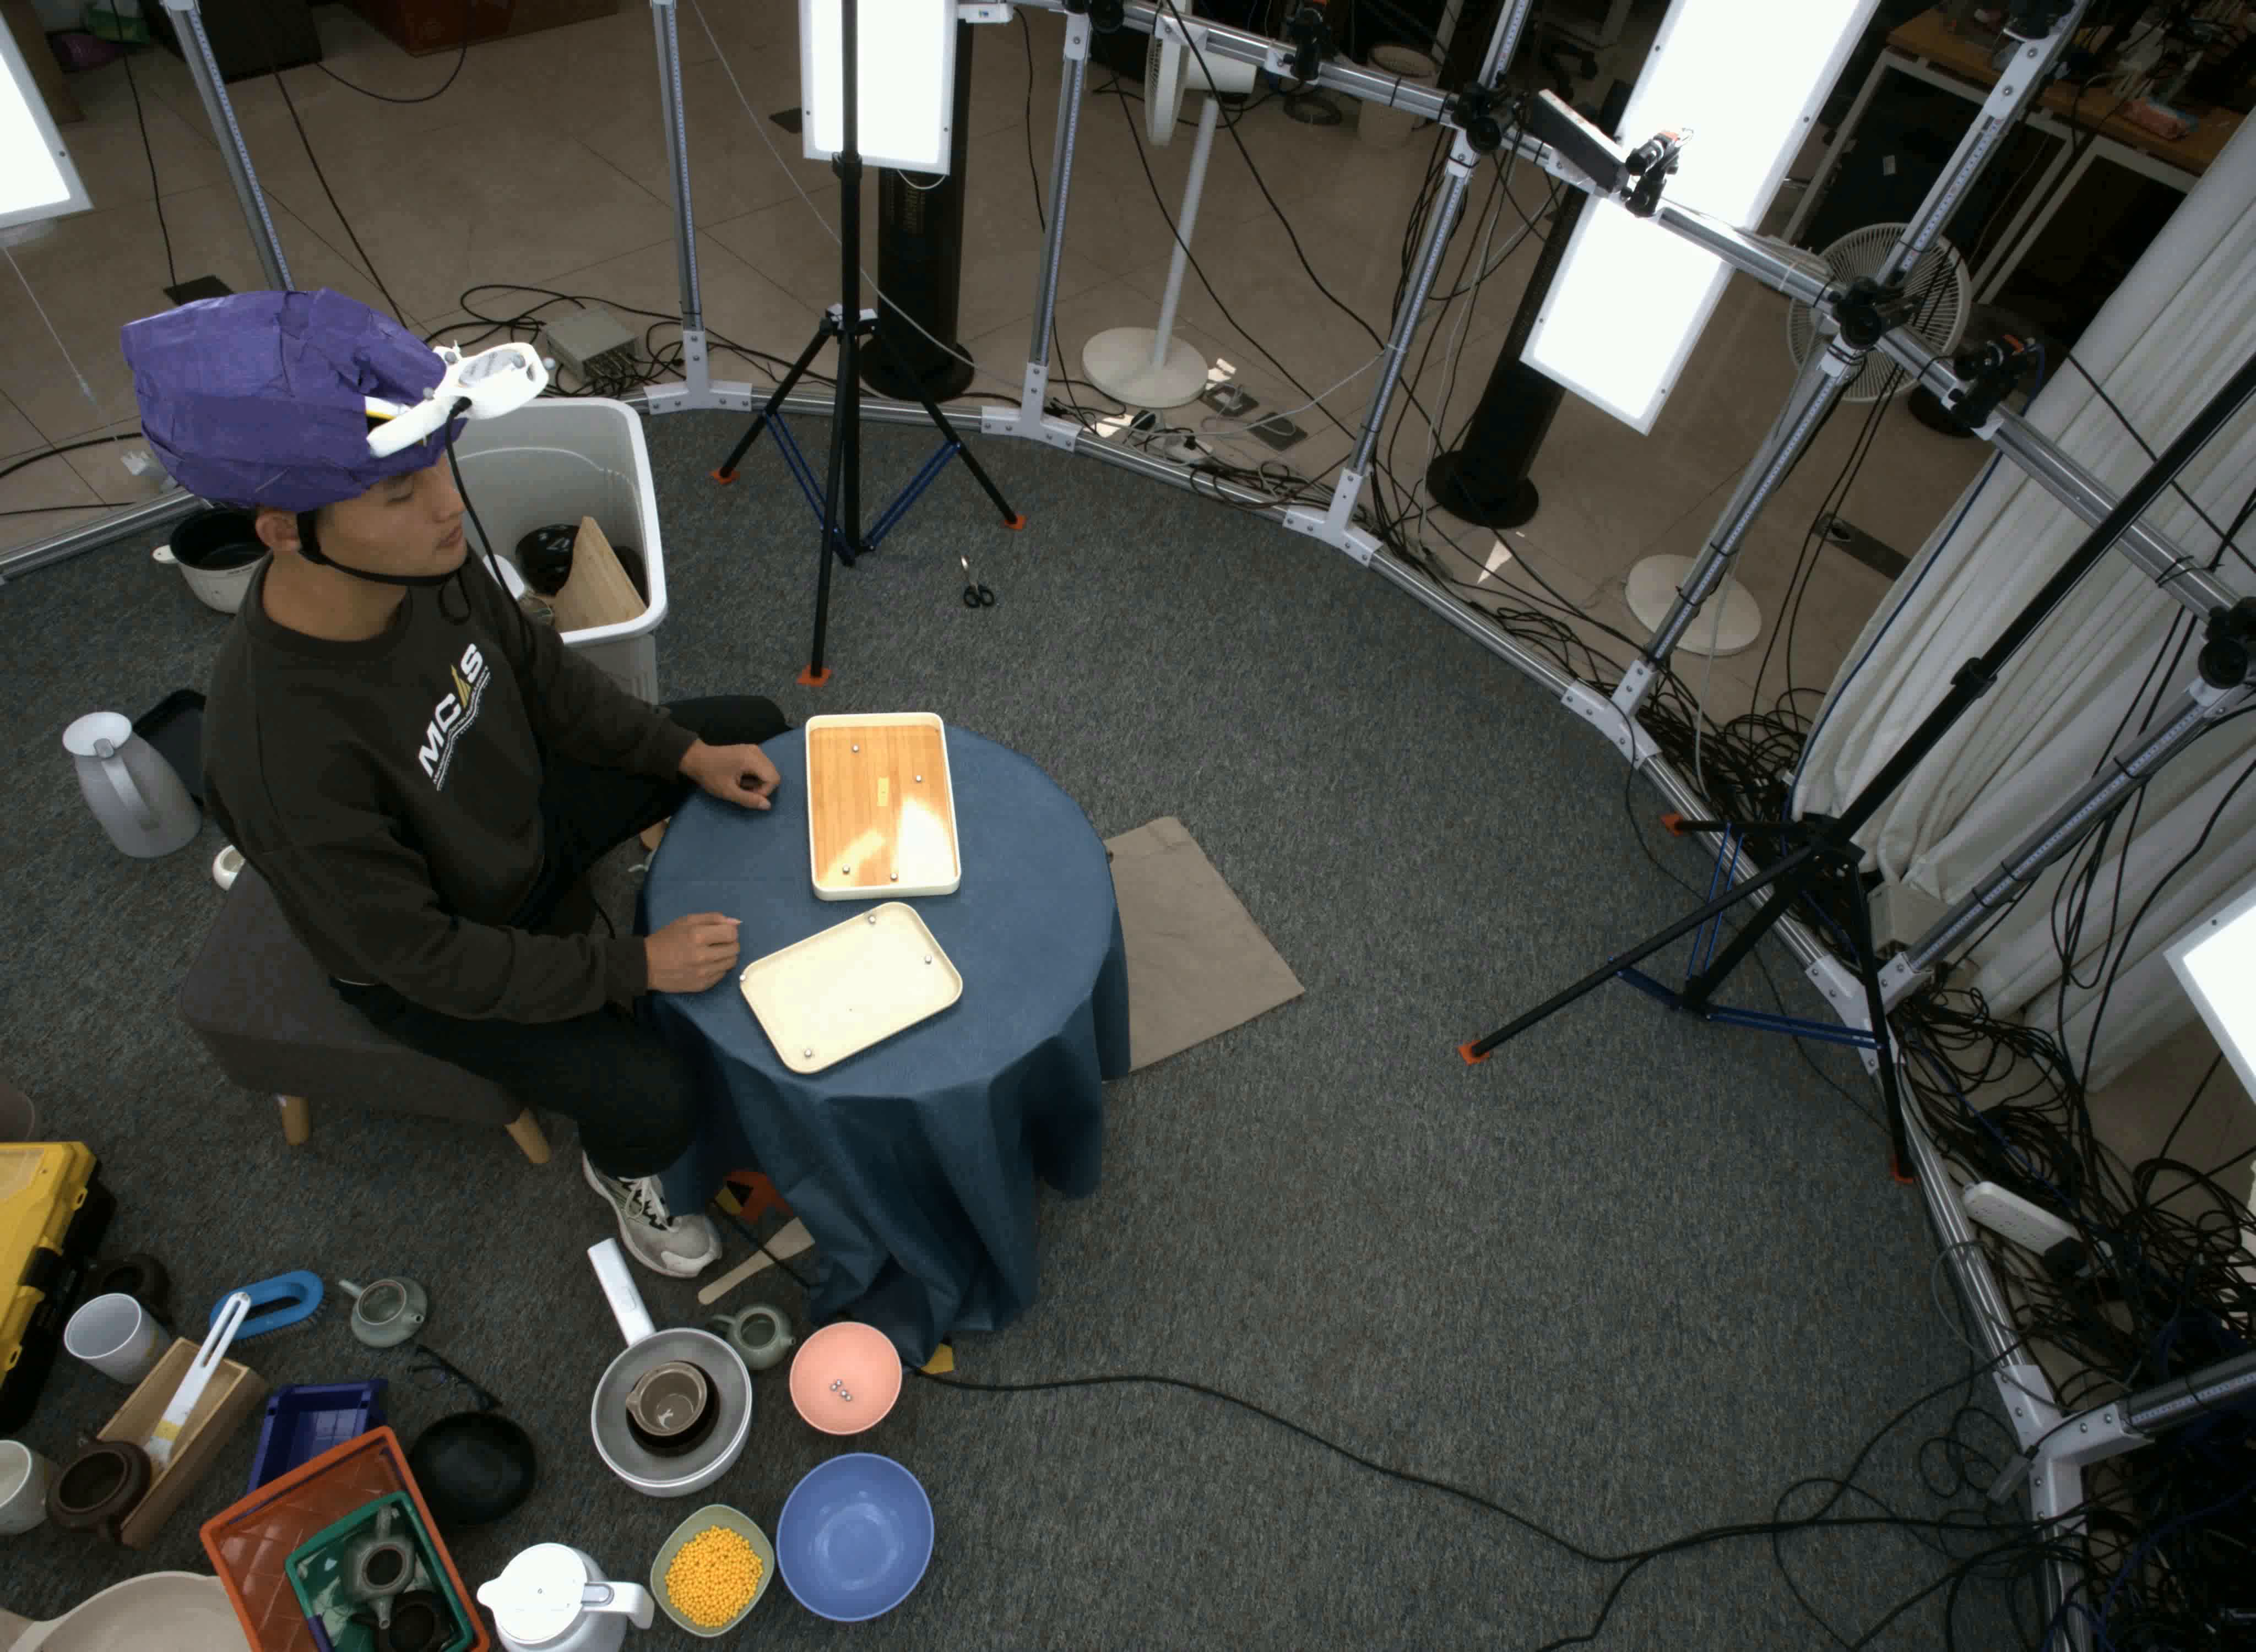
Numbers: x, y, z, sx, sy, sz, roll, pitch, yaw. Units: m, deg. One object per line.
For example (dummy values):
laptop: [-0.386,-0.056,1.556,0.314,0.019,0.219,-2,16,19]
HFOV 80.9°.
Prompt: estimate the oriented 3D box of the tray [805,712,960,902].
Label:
tray: [-0.336,-0.033,1.764,0.192,0.028,0.293,-3,54,-15]

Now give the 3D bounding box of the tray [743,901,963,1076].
tray: [-0.336,0.195,1.599,0.241,0.018,0.167,-25,64,-28]
